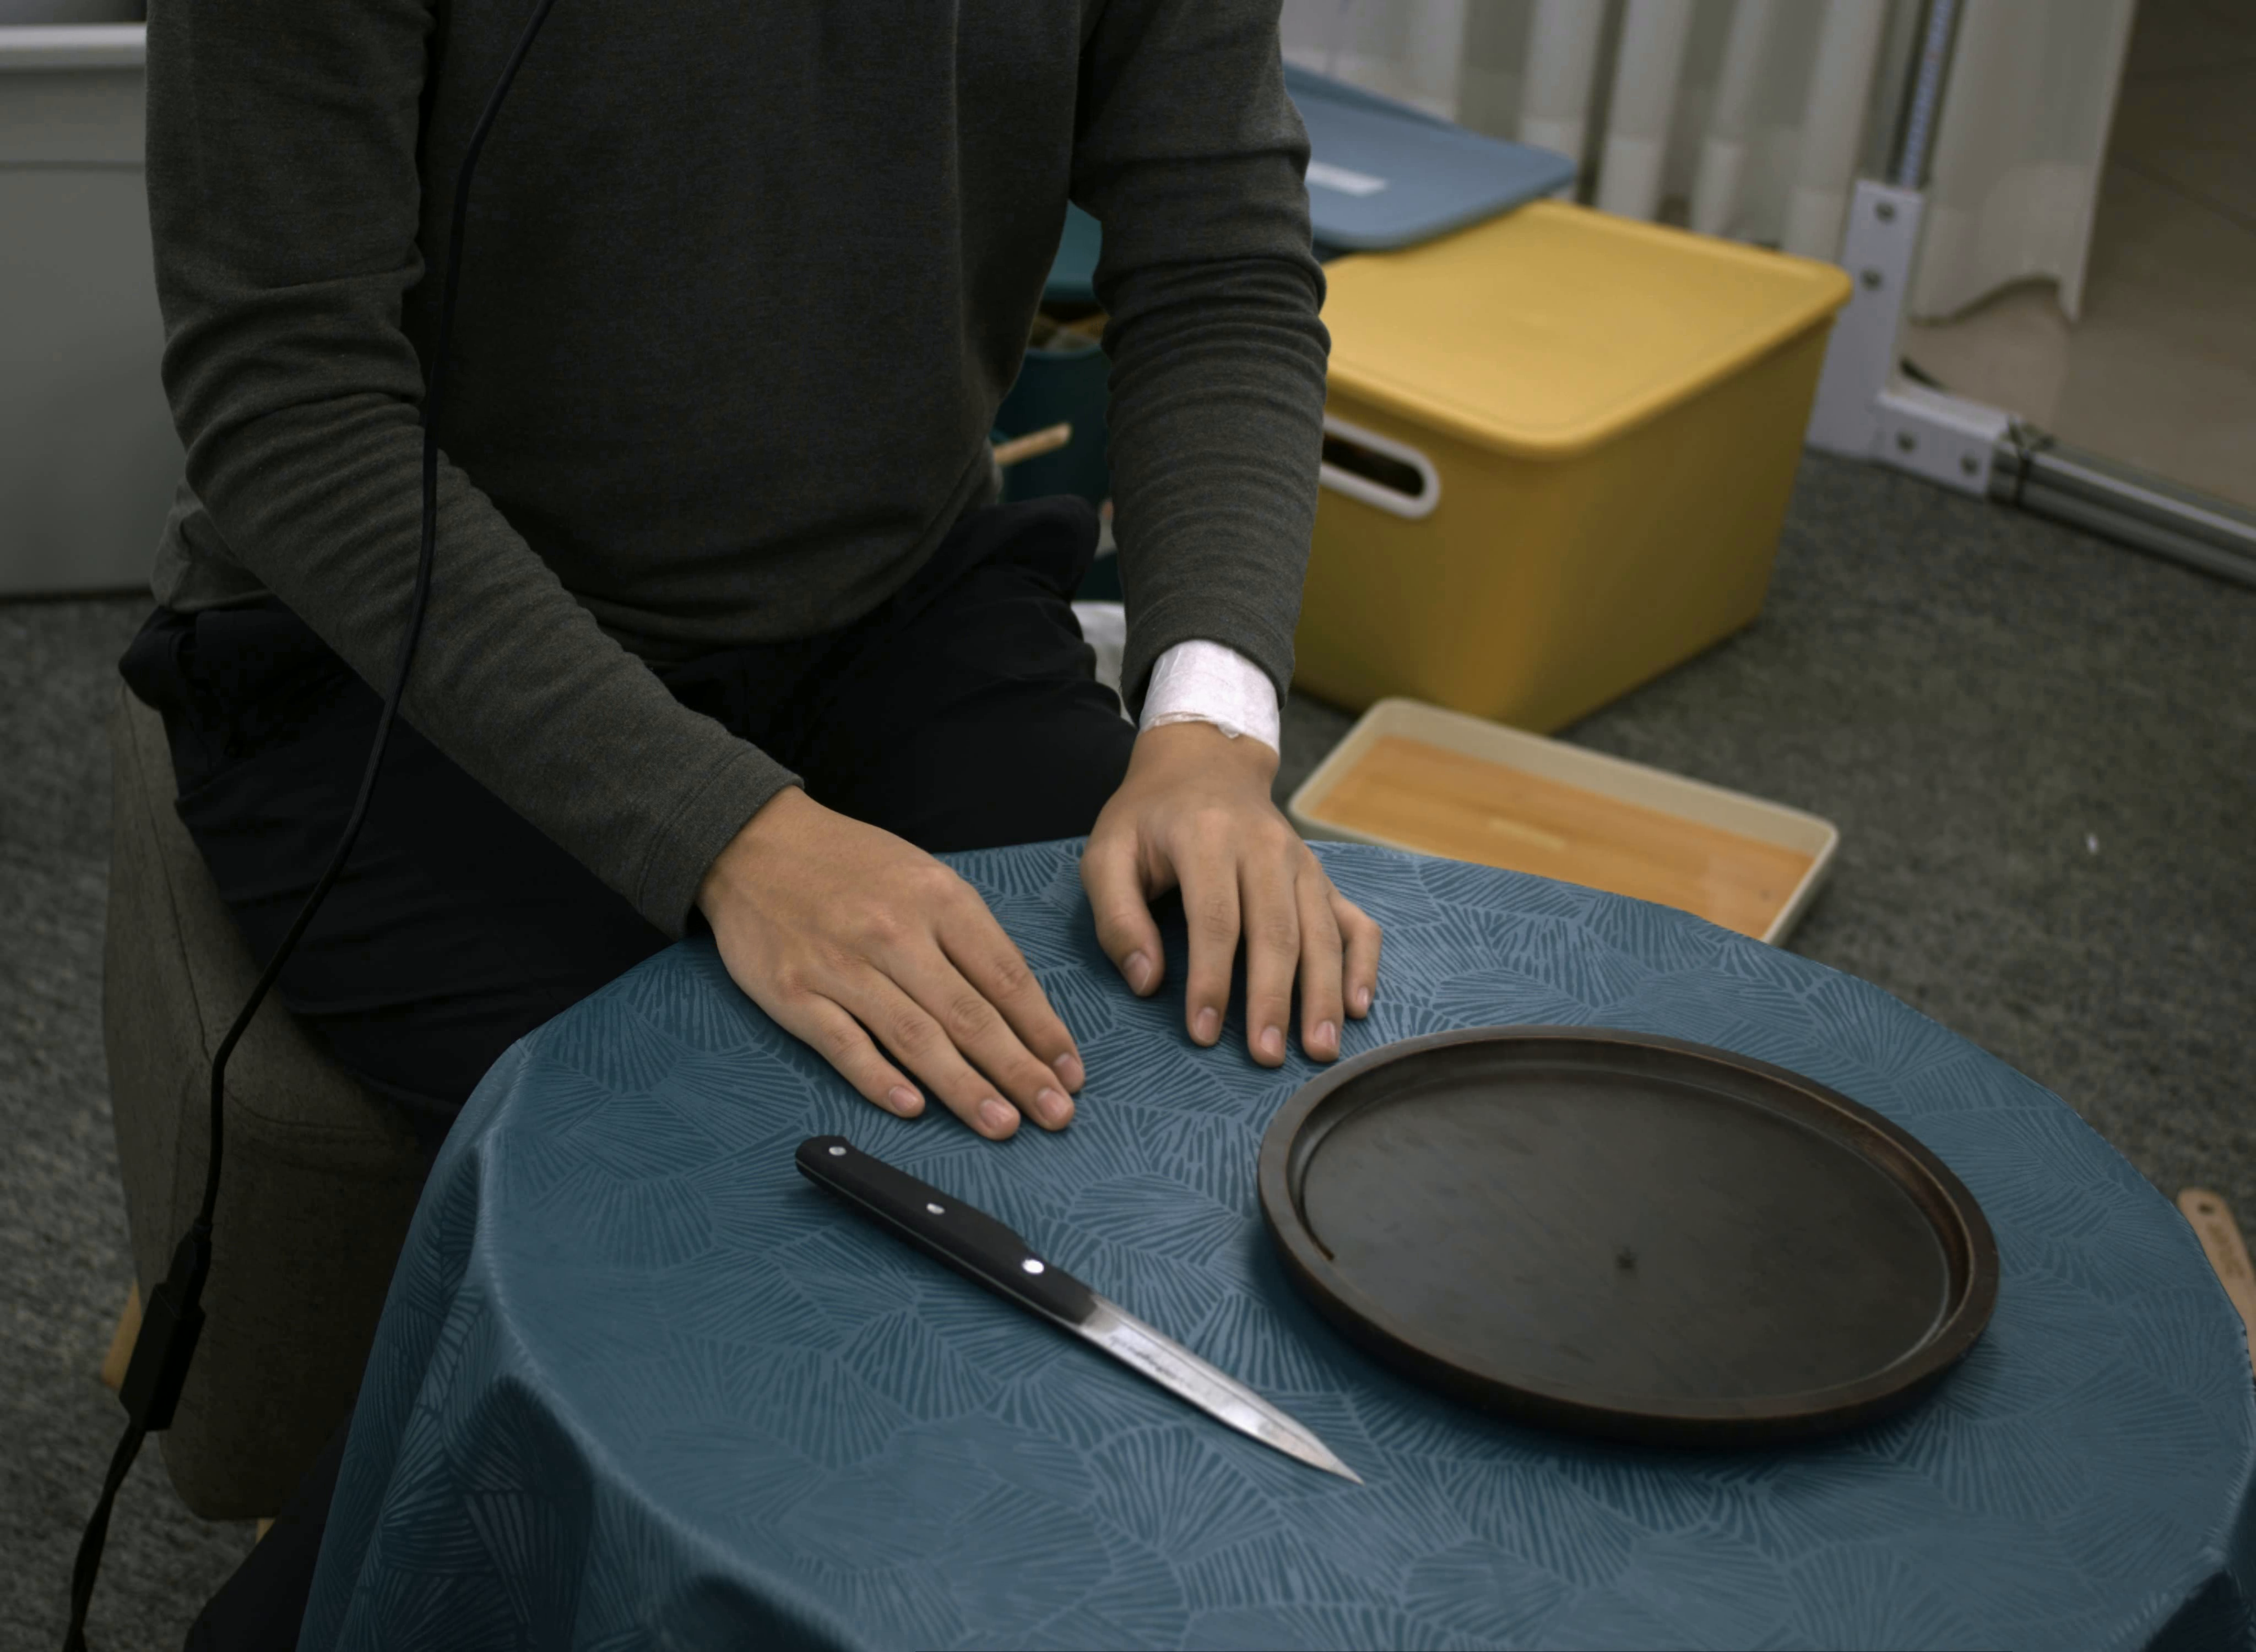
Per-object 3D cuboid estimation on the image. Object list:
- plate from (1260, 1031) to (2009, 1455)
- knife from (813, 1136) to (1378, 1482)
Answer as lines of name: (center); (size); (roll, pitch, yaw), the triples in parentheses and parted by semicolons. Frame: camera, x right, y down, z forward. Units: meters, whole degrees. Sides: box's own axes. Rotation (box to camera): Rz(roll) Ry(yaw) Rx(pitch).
plate: (0.168, 0.138, 1.791); (0.254, 0.029, 0.256); (6, 27, -3)
knife: (-0.015, 0.158, 1.722); (0.240, 0.016, 0.024); (28, 35, 31)
